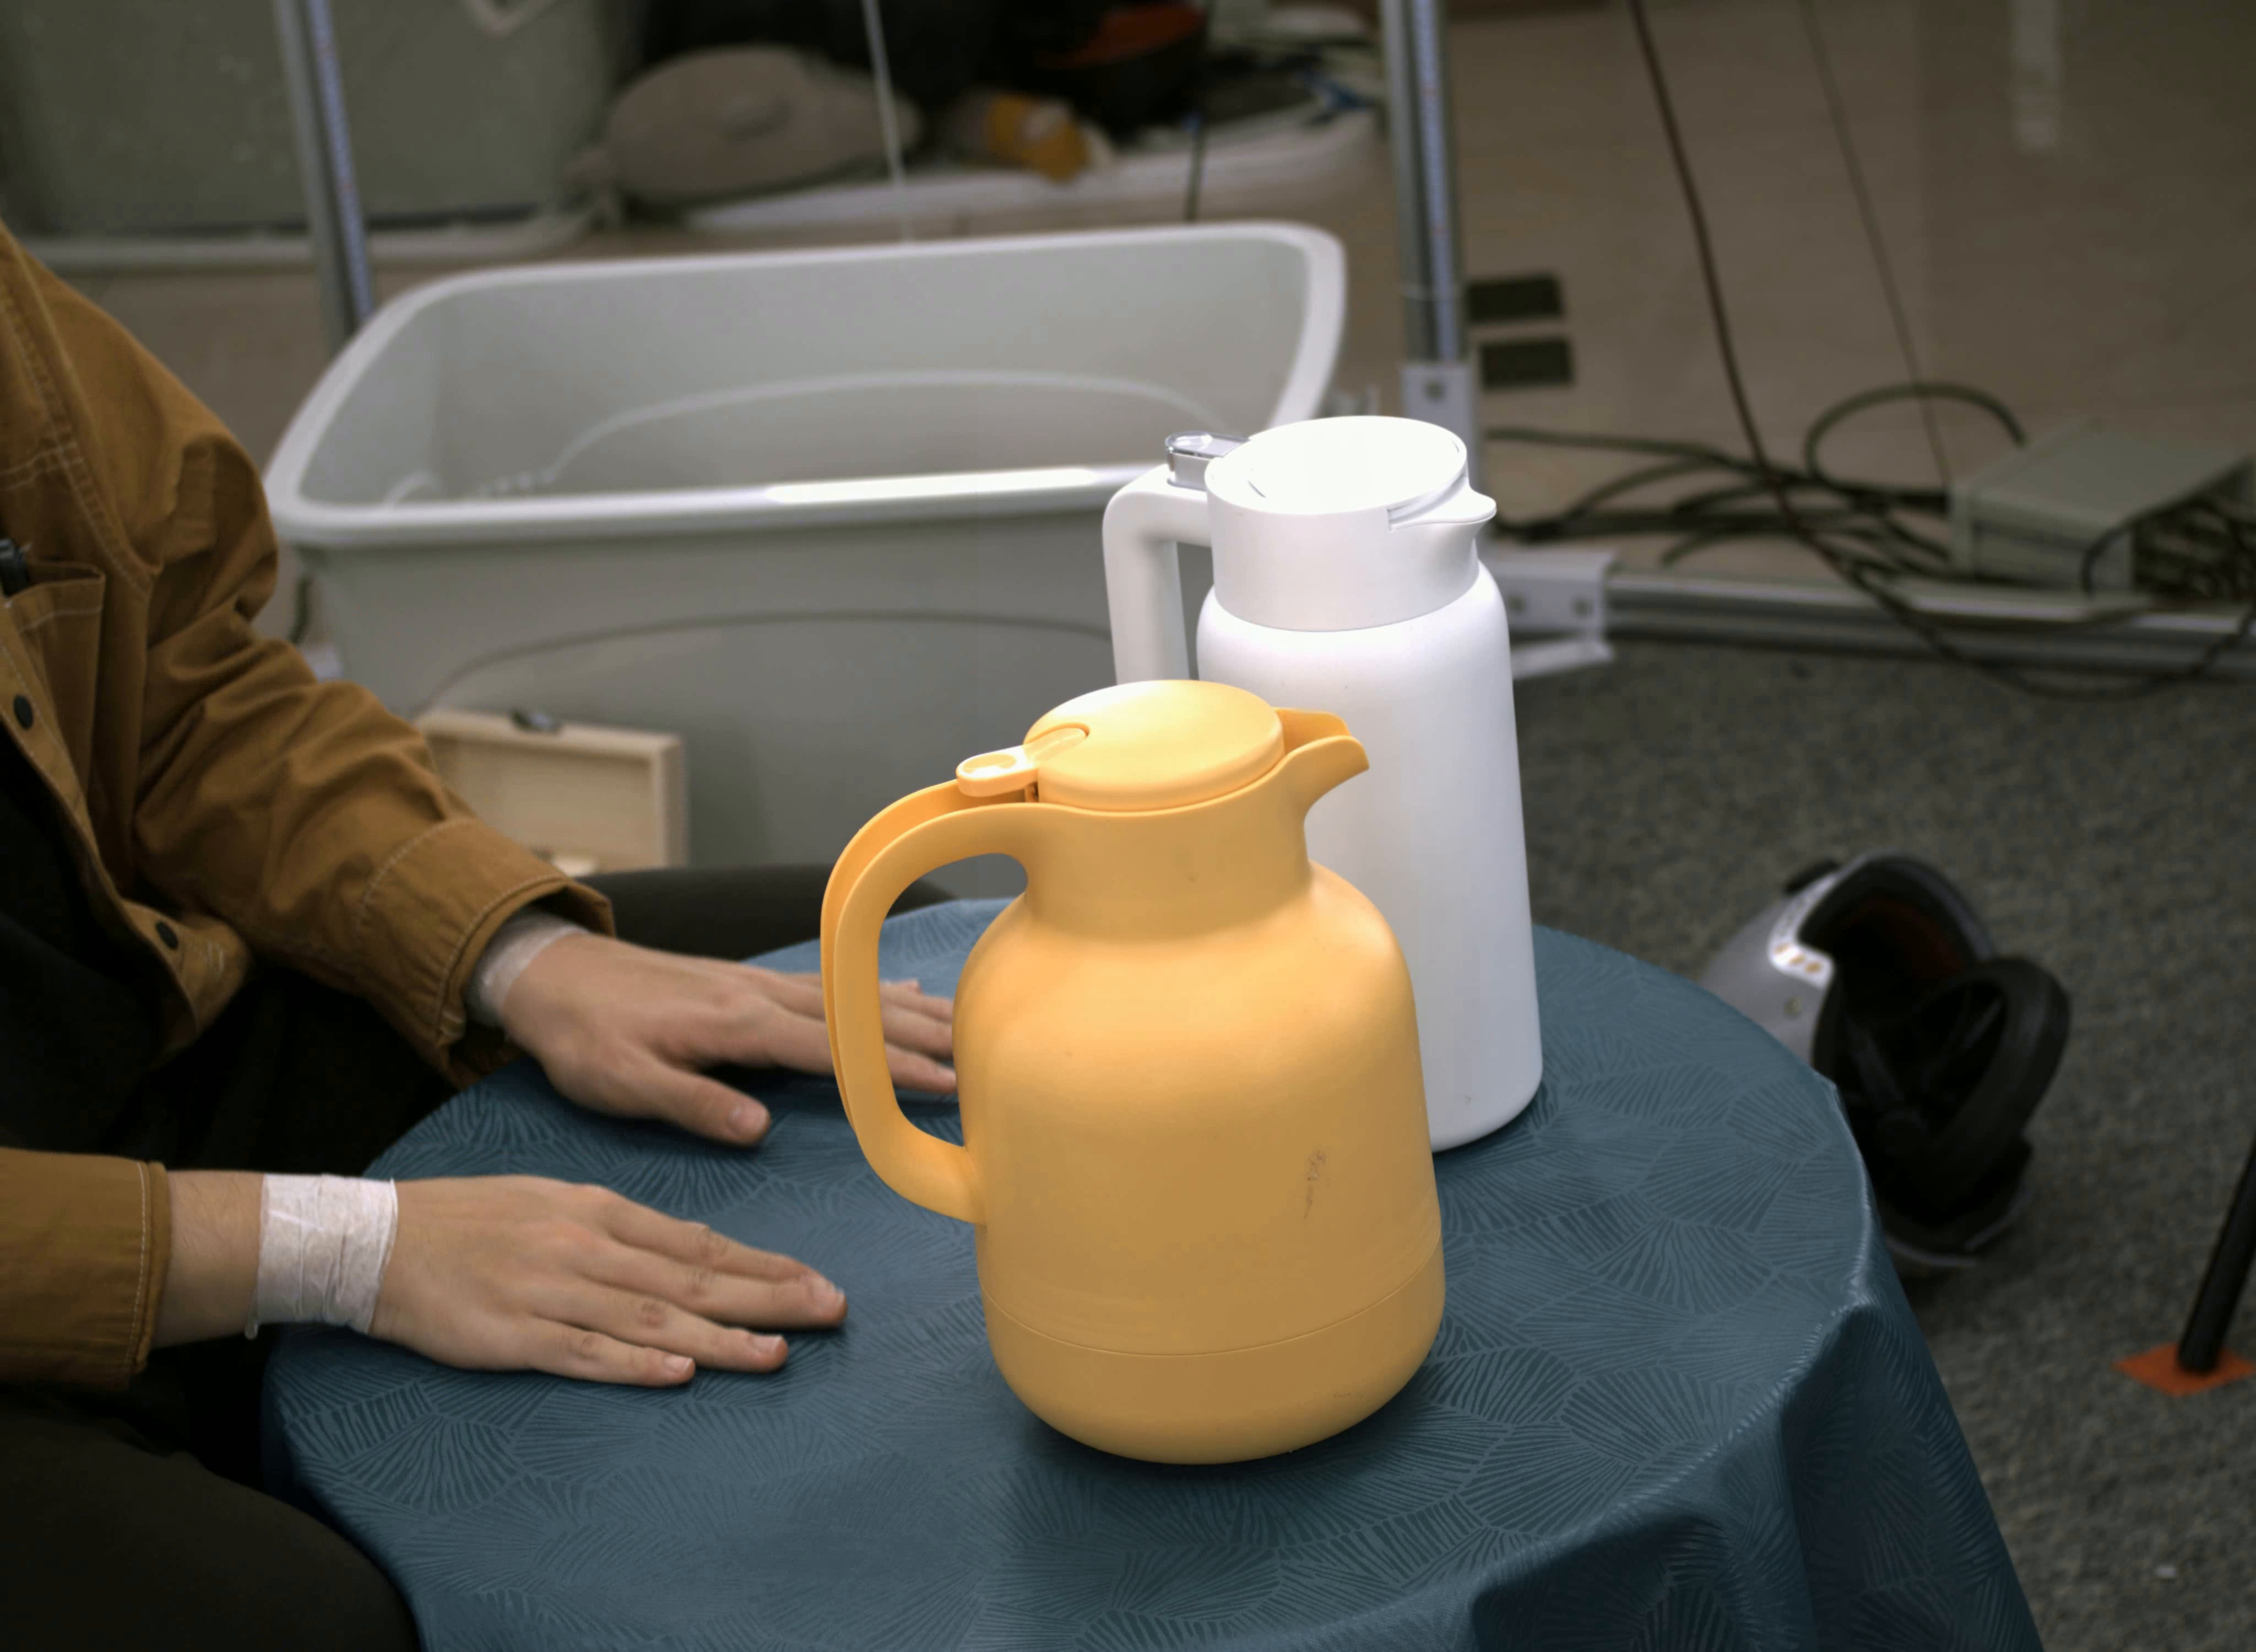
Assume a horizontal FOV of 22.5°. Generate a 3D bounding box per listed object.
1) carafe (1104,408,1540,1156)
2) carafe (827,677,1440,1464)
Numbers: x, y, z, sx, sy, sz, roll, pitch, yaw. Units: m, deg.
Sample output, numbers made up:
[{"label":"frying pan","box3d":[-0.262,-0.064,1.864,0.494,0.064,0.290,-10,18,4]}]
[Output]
[{"label":"carafe","box3d":[0.075,-0.017,2.145,0.172,0.273,0.122,12,33,34]},{"label":"carafe","box3d":[0.001,0.082,1.957,0.202,0.264,0.161,-9,23,-8]}]
